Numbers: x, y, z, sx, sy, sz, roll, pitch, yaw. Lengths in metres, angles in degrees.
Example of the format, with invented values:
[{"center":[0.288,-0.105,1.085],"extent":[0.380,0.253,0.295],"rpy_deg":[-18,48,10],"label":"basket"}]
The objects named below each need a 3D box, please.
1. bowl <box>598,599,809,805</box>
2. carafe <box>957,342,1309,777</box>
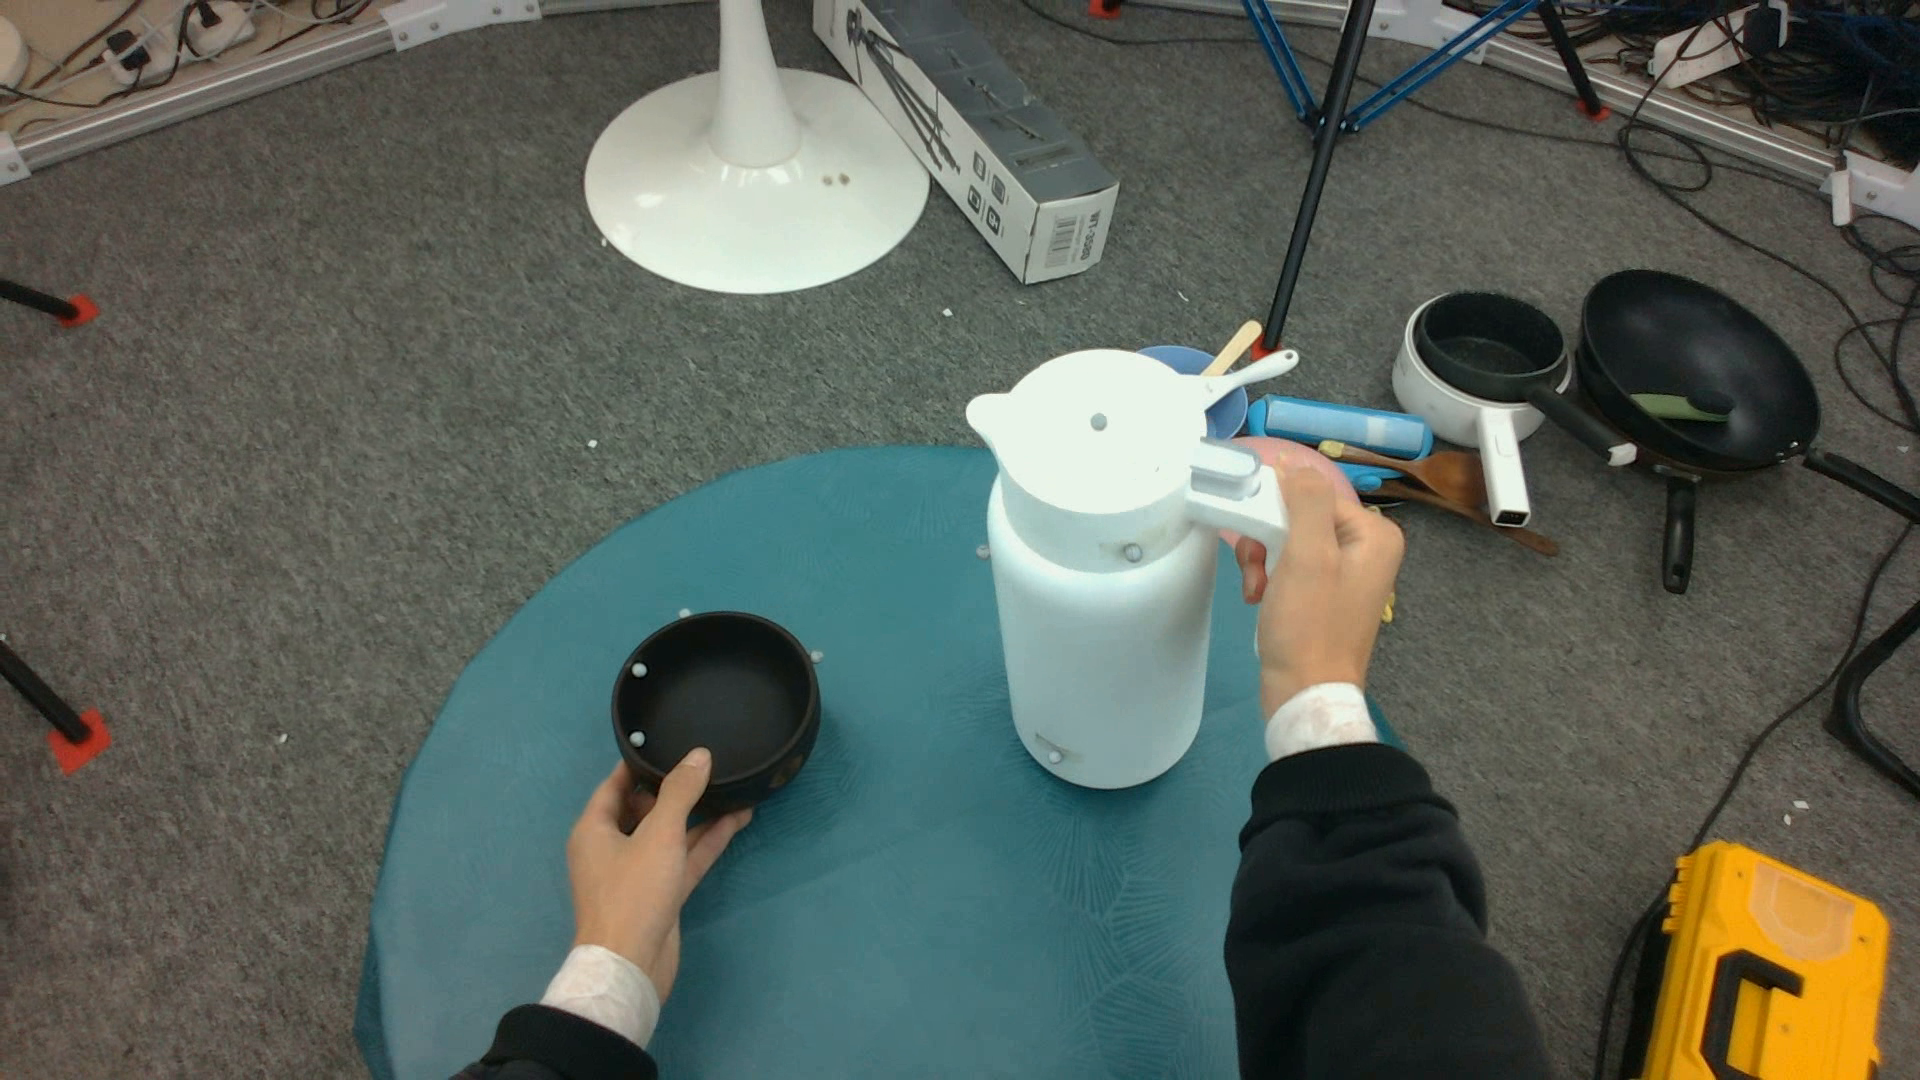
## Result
[{"center":[-0.146,0.100,0.800],"extent":[0.118,0.069,0.118],"rpy_deg":[2,54,-3],"label":"bowl"},{"center":[0.091,0.023,0.740],"extent":[0.172,0.267,0.124],"rpy_deg":[15,55,16],"label":"carafe"}]
